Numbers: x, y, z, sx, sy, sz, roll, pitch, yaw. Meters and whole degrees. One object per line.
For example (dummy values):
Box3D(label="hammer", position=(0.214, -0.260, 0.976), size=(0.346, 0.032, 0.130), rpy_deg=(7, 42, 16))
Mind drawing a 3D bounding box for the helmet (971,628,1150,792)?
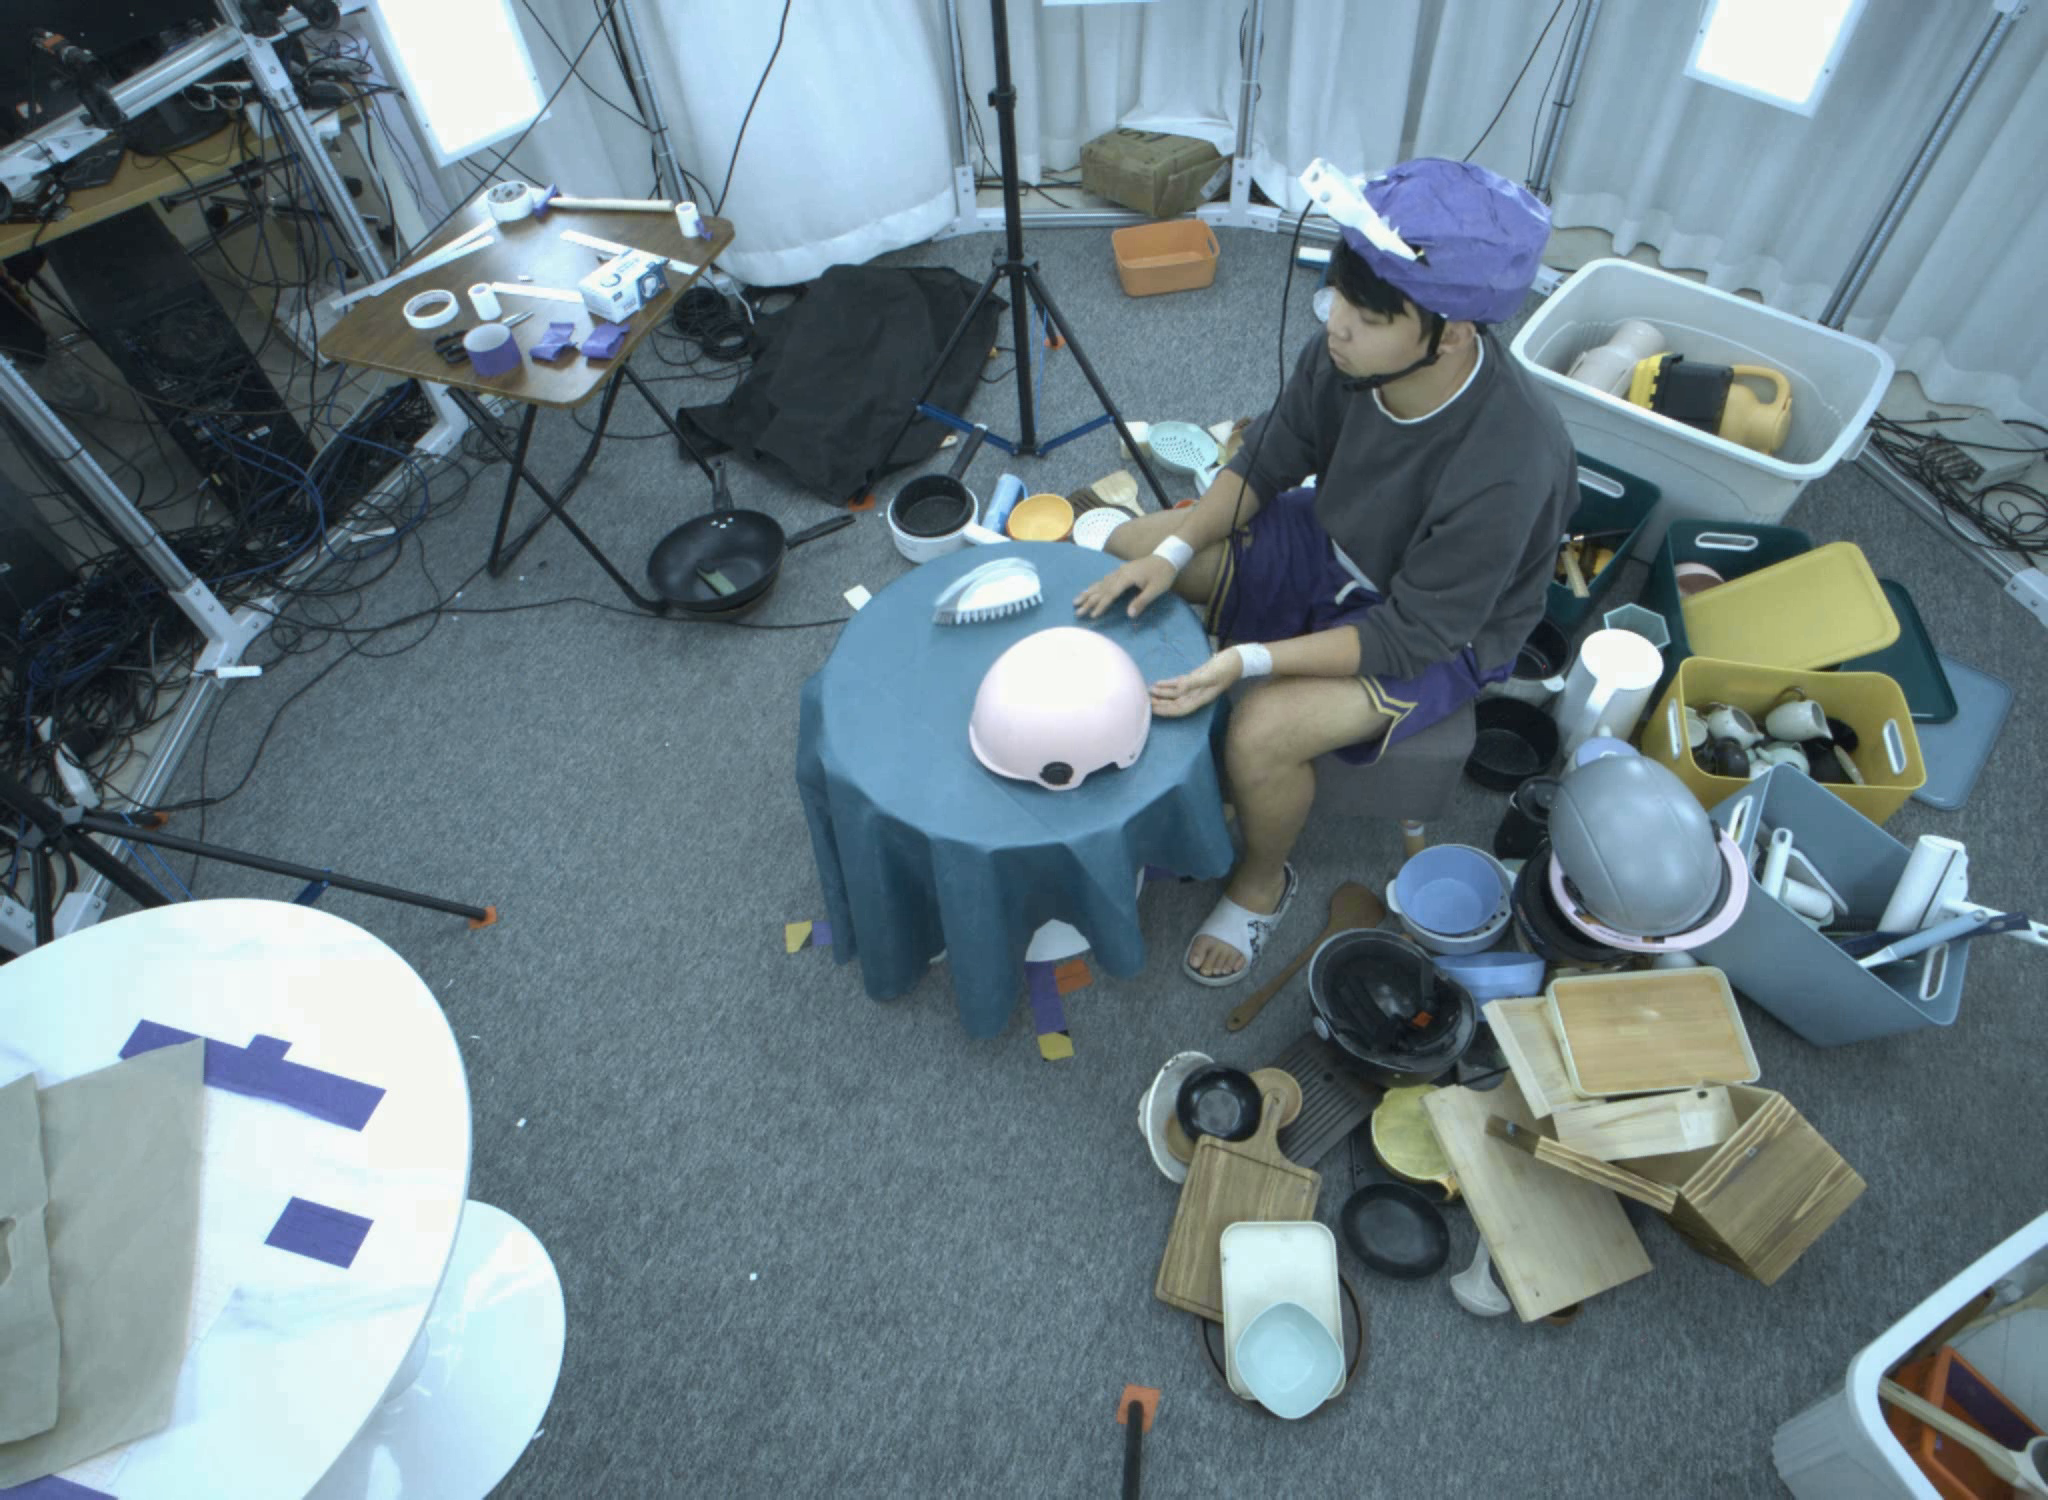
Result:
Box3D(label="helmet", position=(0.045, -0.077, 1.750), size=(0.266, 0.161, 0.230), rpy_deg=(-14, 56, -3))

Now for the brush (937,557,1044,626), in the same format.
Box3D(label="brush", position=(-0.058, -0.250, 1.913), size=(0.176, 0.095, 0.060), rpy_deg=(-19, 54, -9))
